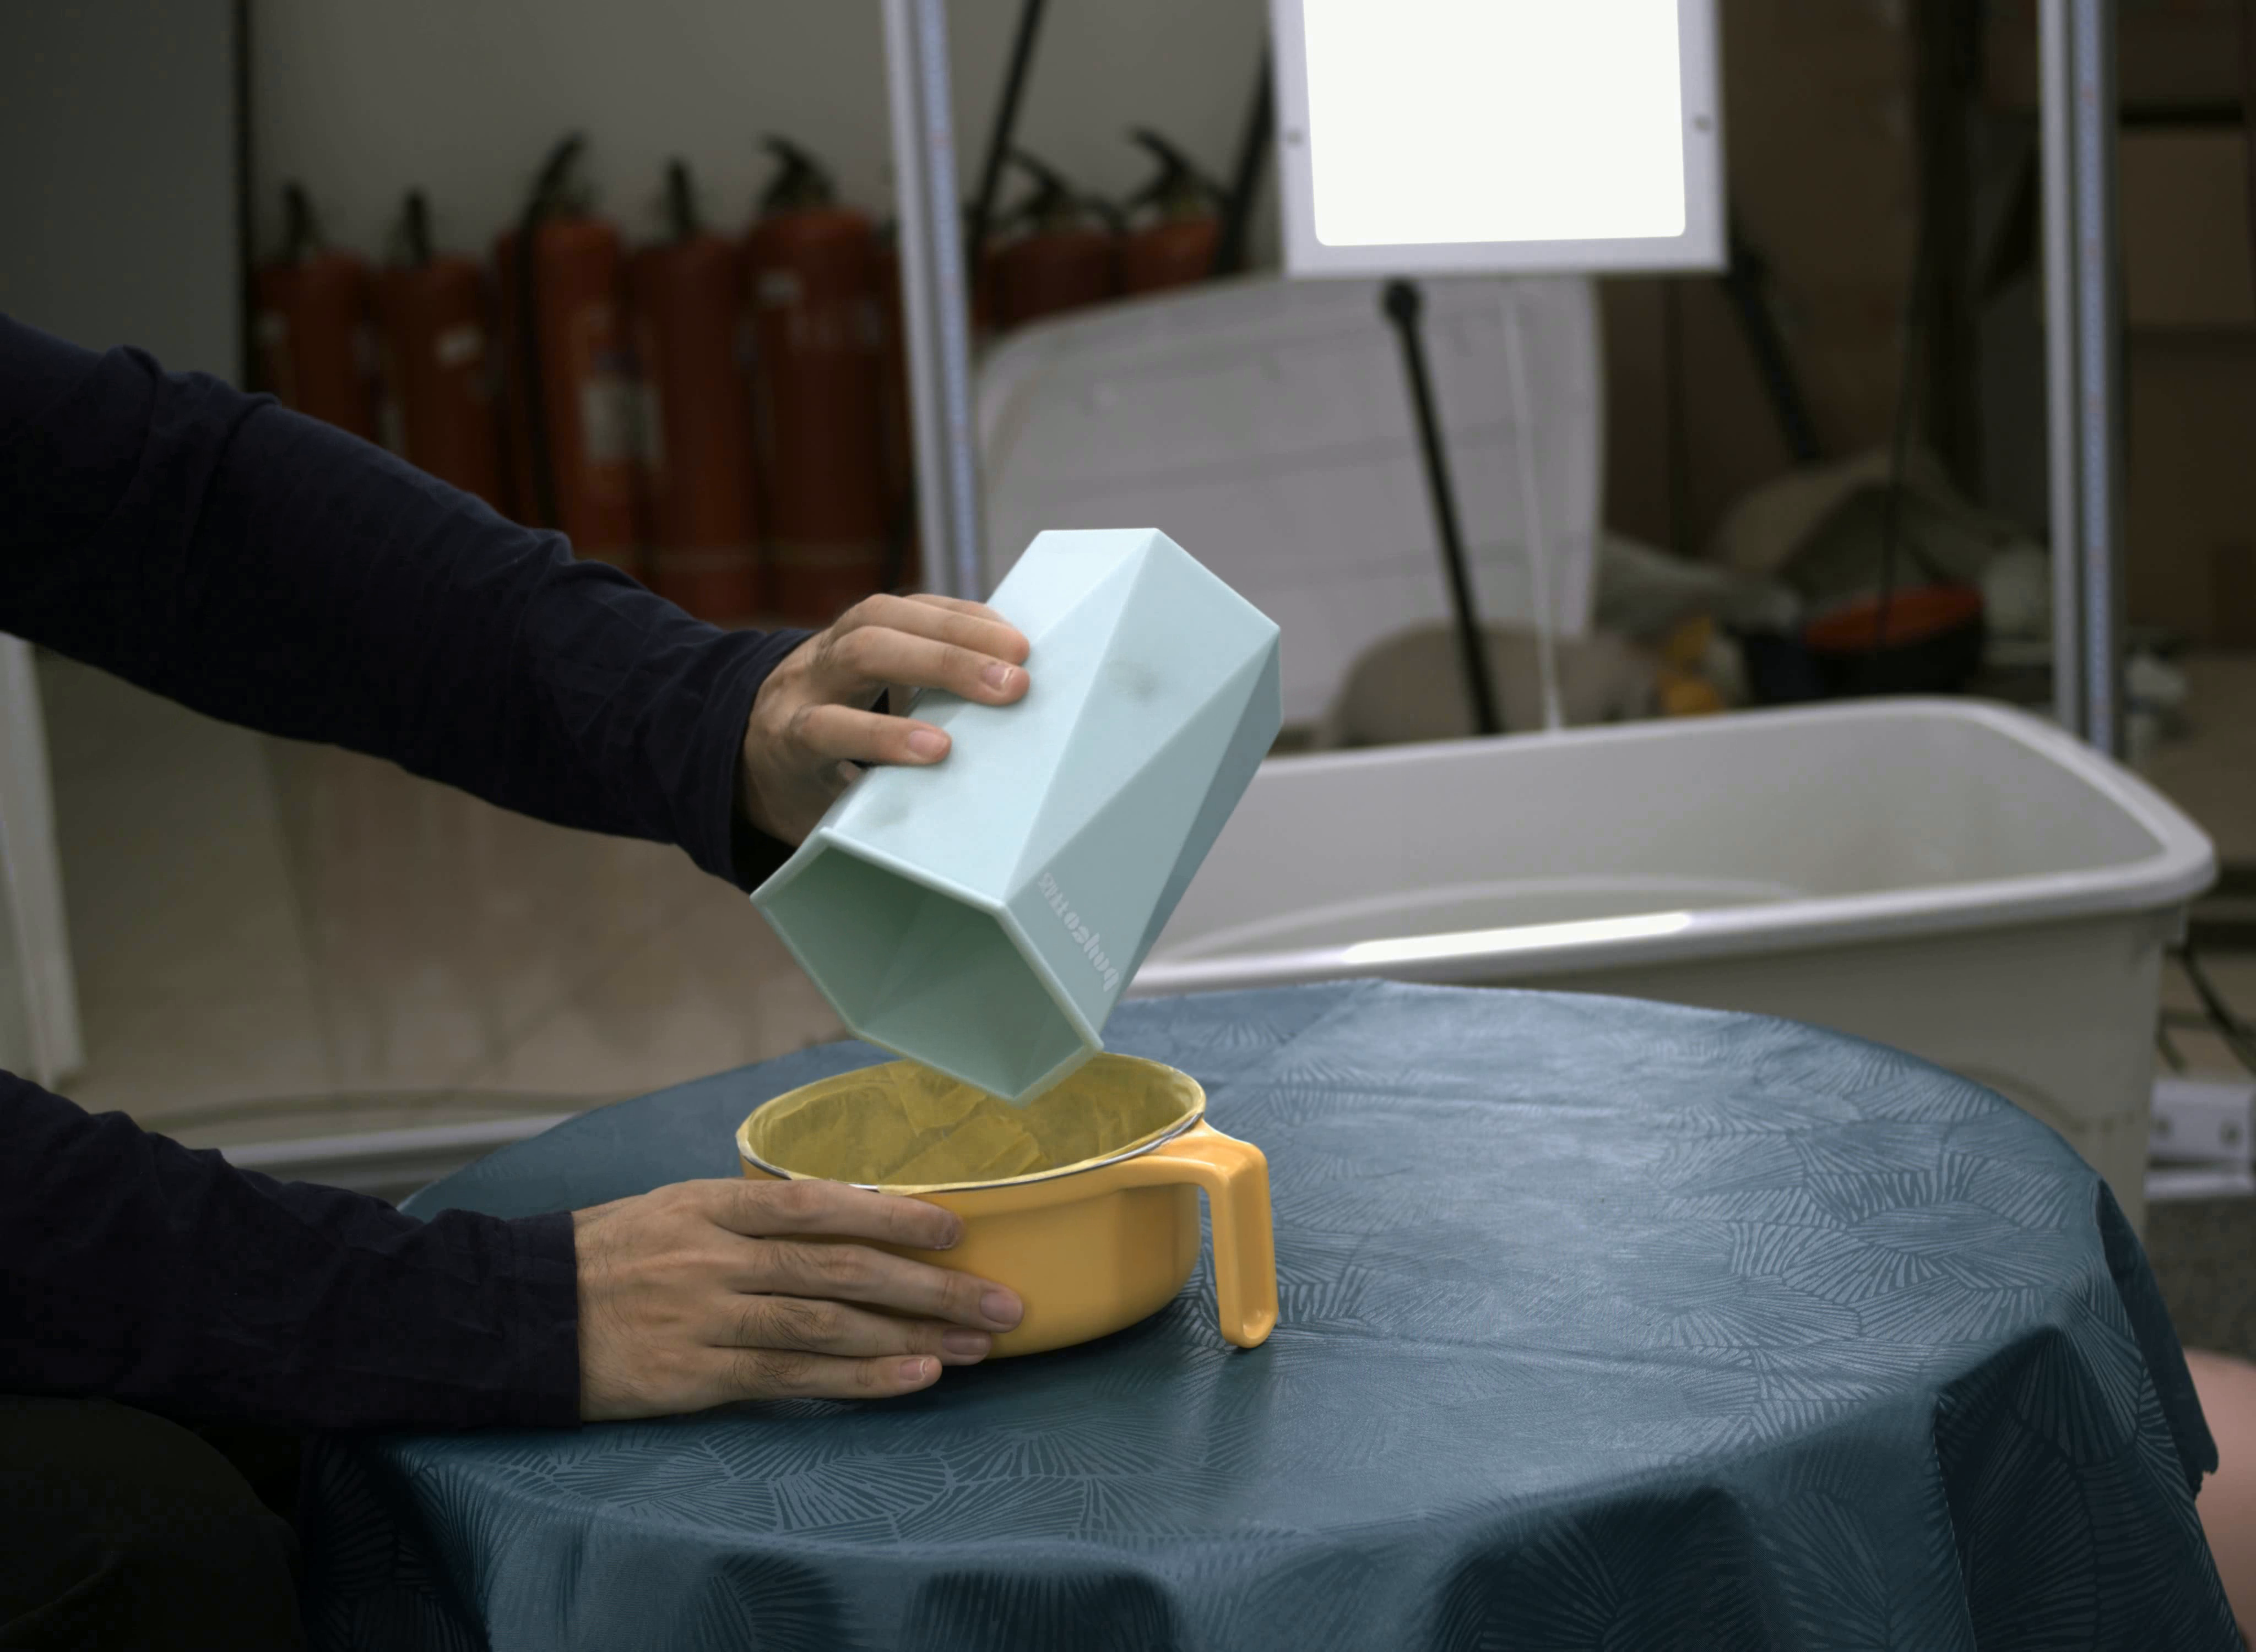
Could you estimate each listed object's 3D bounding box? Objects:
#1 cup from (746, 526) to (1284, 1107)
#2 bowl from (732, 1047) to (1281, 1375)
[{"bbox_3d":[-0.028,-0.011,1.802,0.118,0.130,0.160,0,45,46],"label":"cup"},{"bbox_3d":[-0.037,0.127,1.773,0.182,0.074,0.149,0,14,30],"label":"bowl"}]
